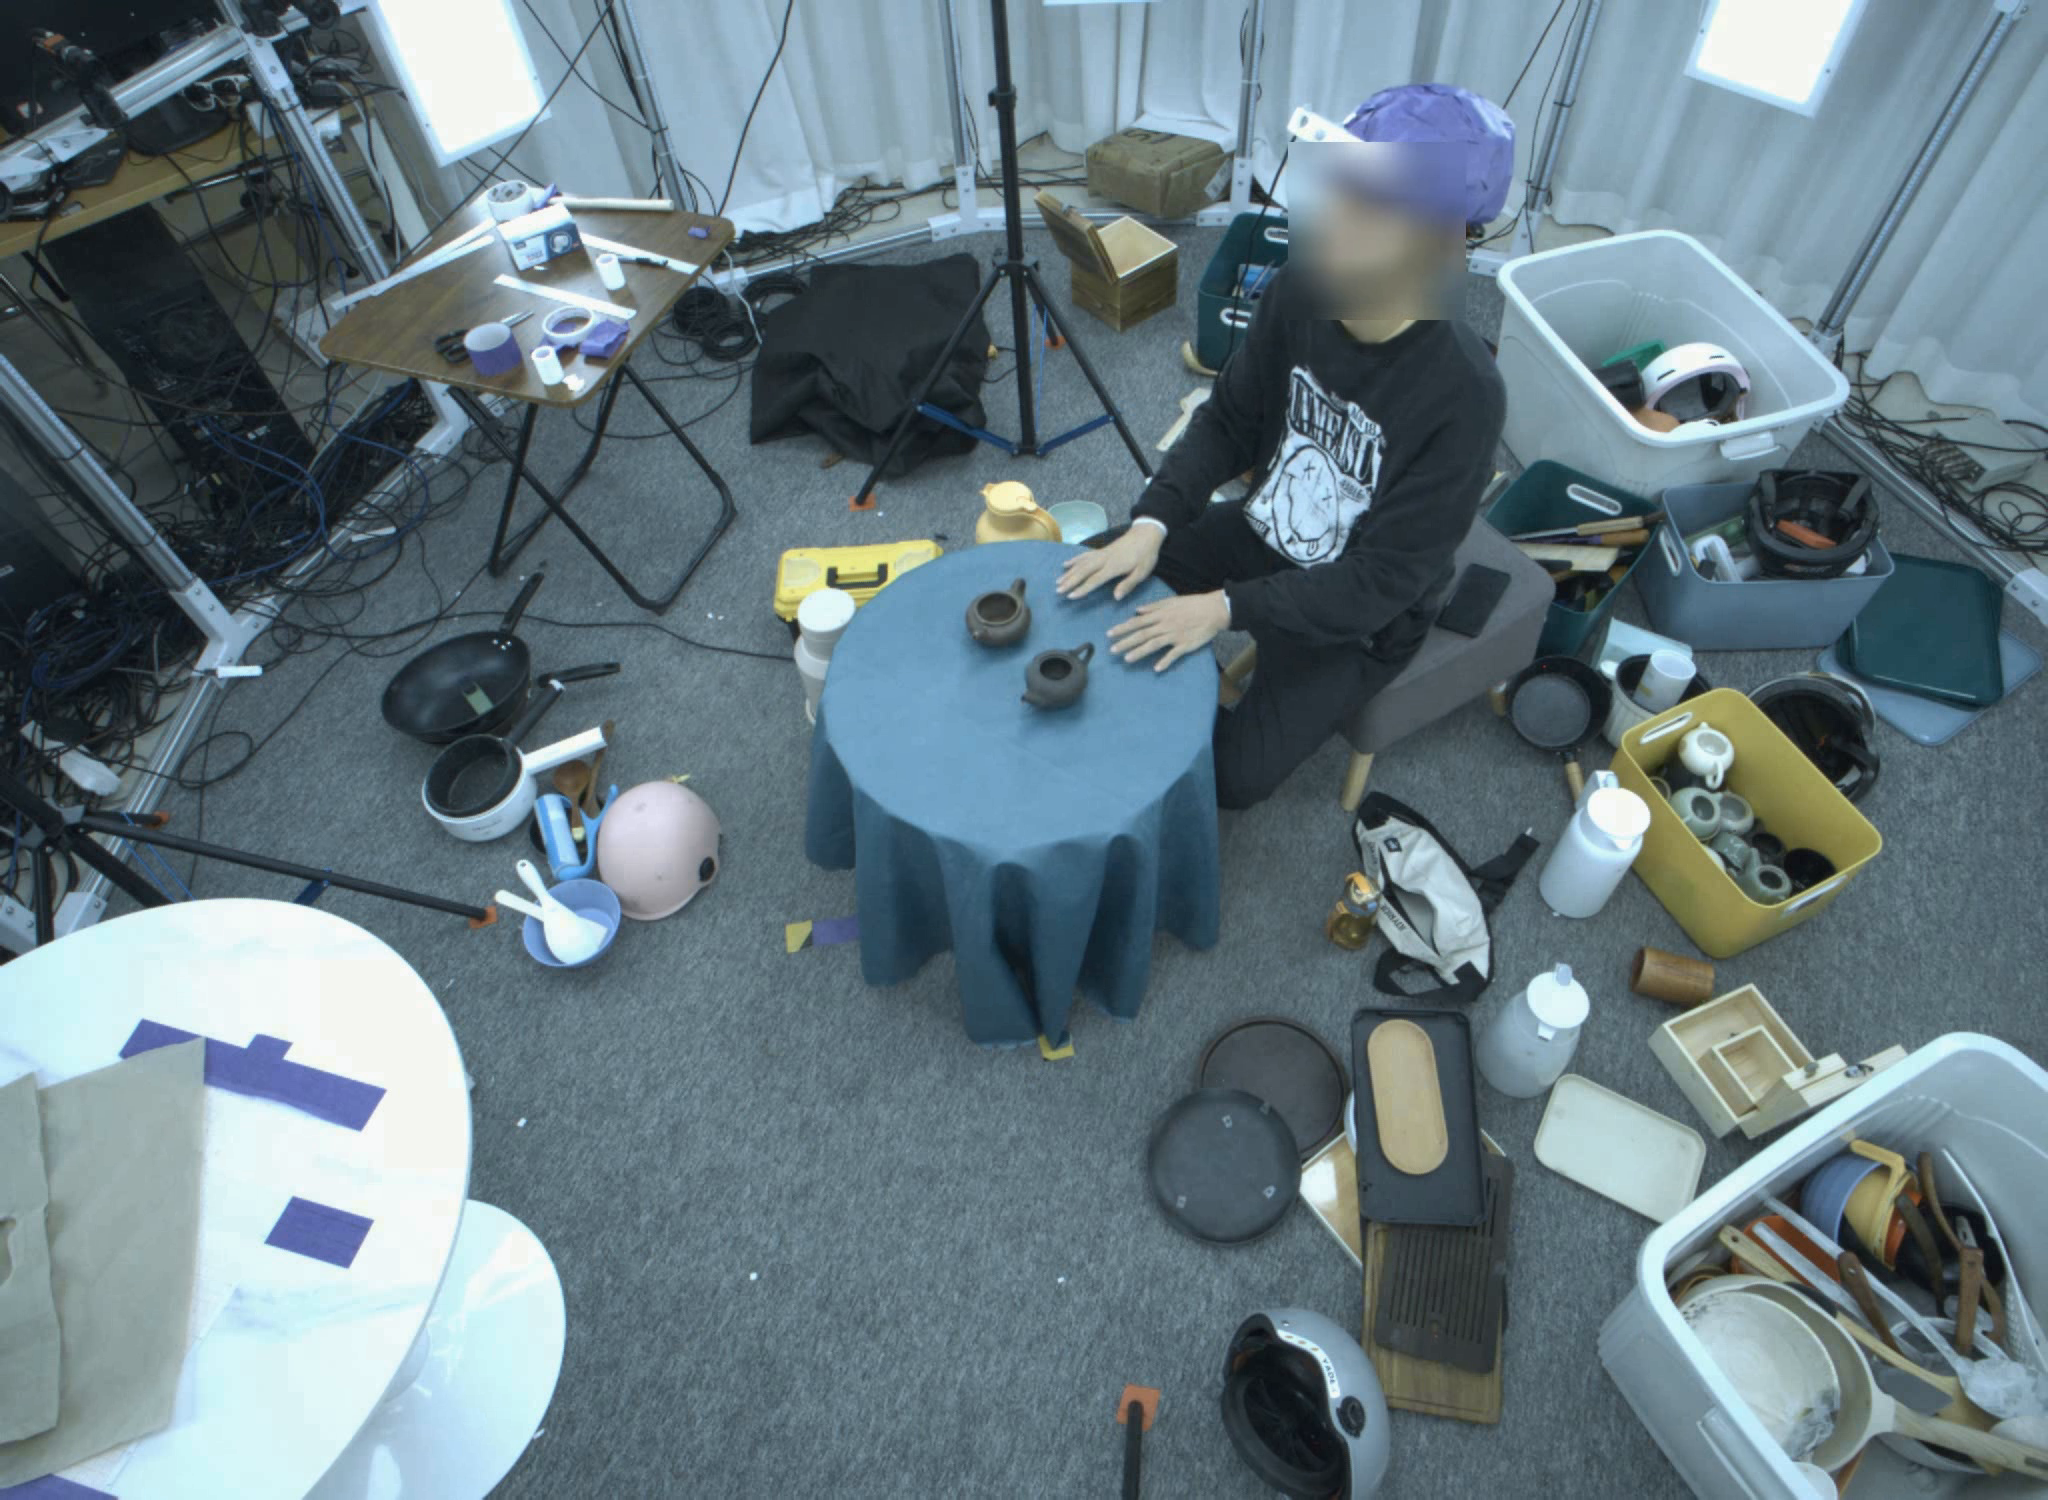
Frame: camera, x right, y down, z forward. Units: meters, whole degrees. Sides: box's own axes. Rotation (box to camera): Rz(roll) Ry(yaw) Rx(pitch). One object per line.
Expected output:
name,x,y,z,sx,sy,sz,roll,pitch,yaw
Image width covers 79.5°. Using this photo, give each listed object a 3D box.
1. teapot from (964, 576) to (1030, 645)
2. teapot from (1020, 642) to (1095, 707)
teapot,-0.040,-0.211,1.901,0.102,0.054,0.153,19,58,12
teapot,0.049,-0.108,1.820,0.091,0.065,0.155,38,64,24
